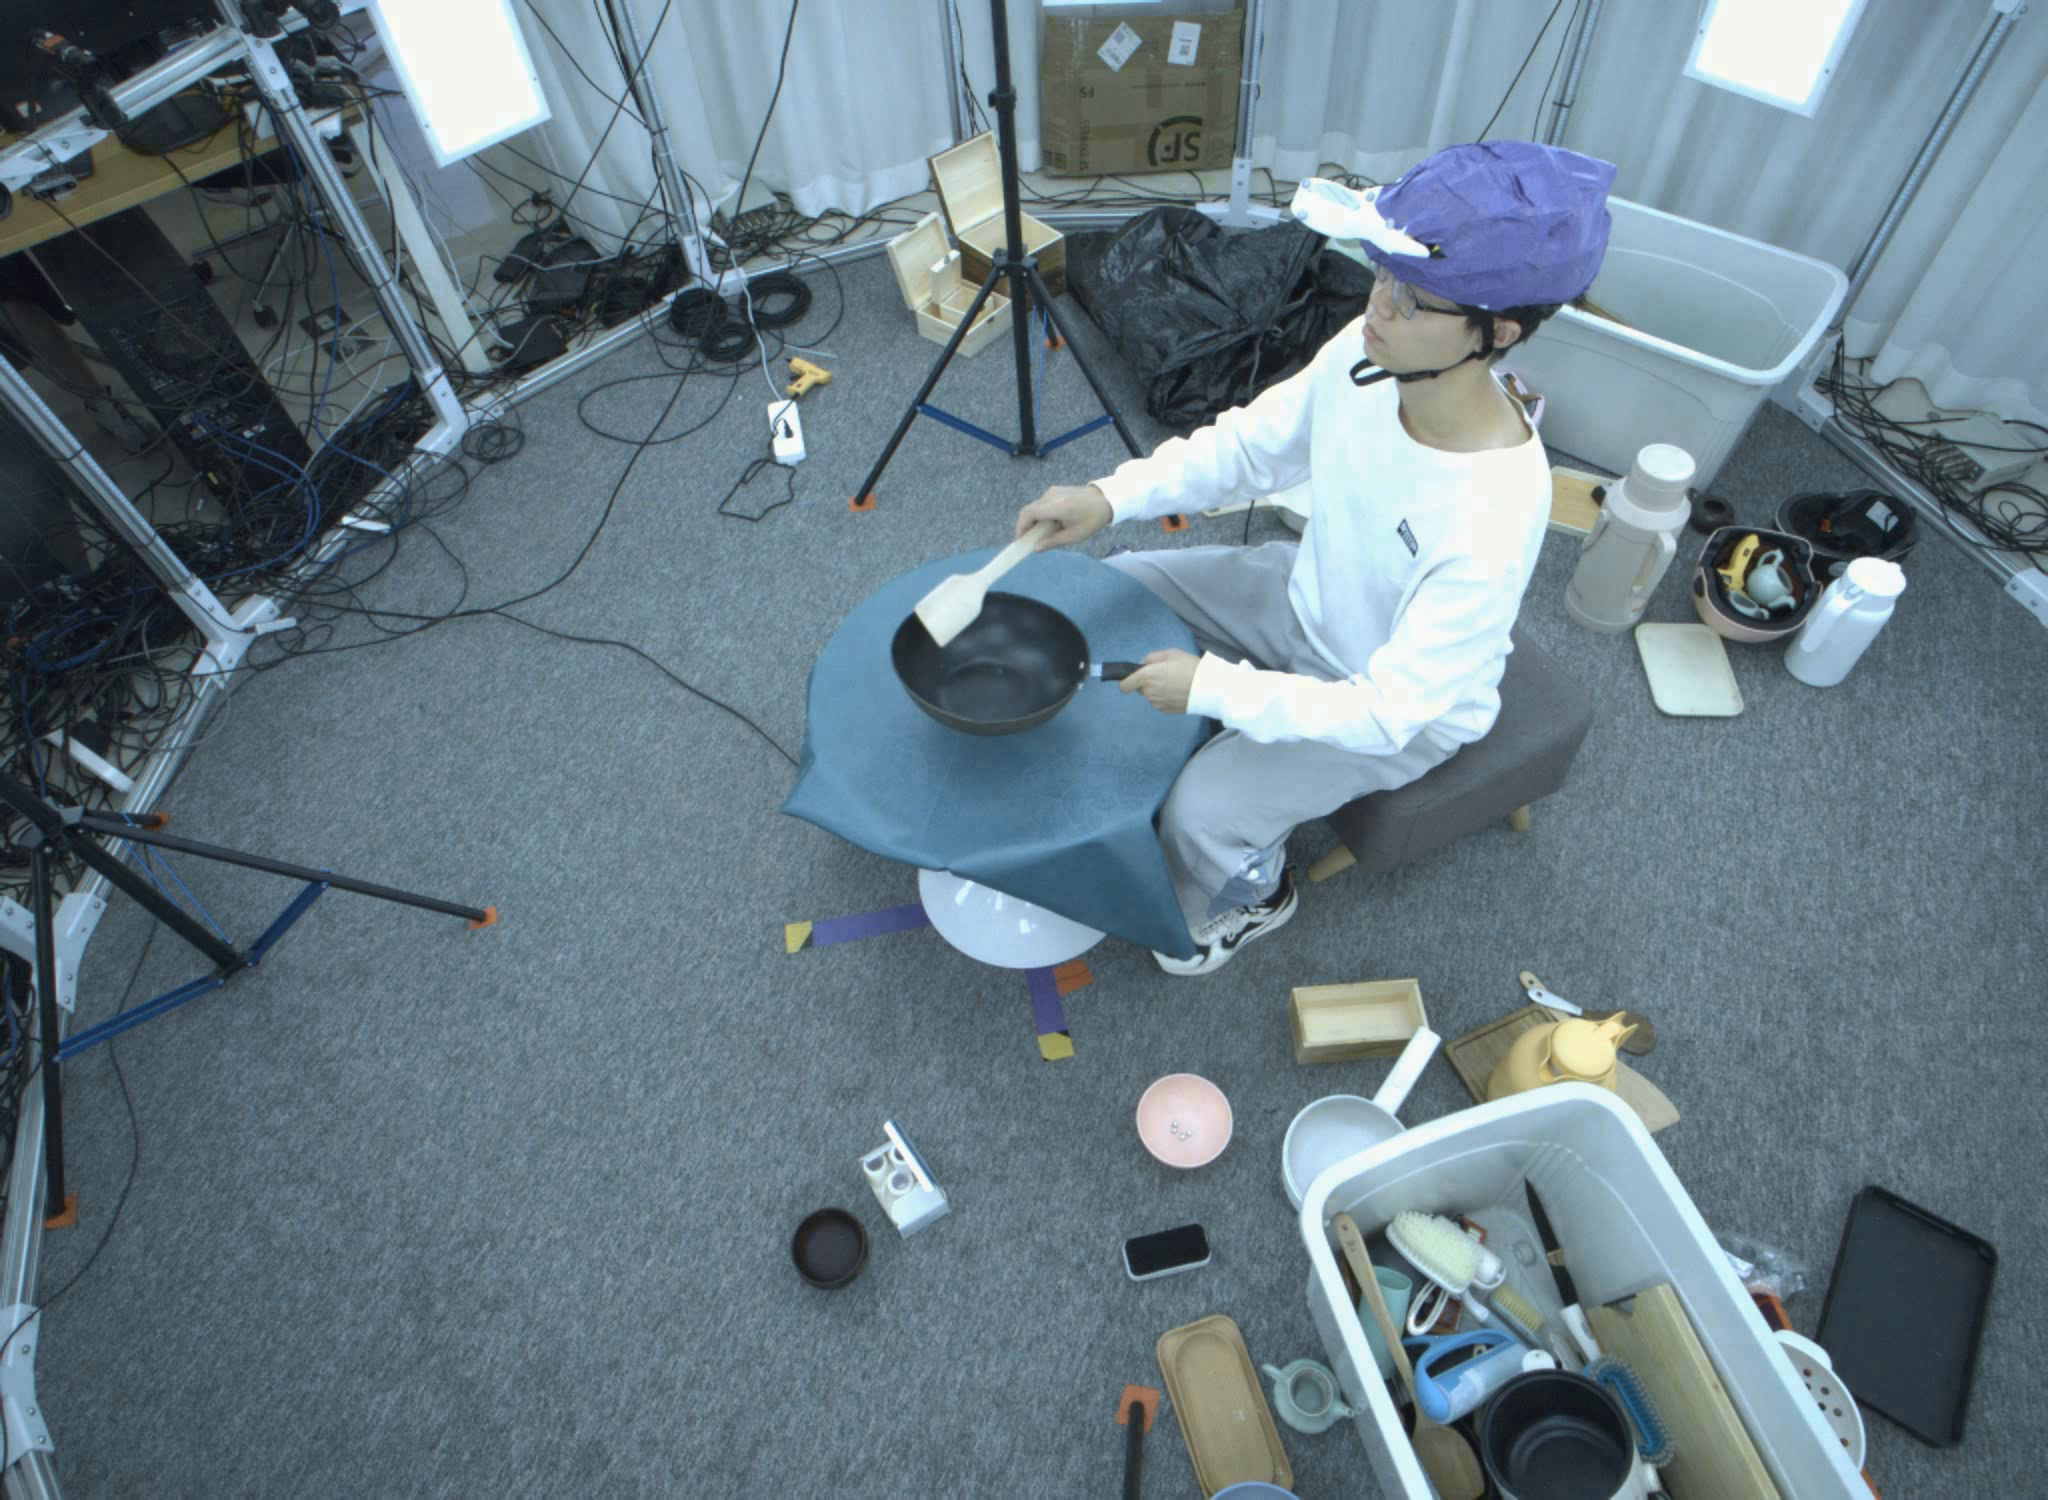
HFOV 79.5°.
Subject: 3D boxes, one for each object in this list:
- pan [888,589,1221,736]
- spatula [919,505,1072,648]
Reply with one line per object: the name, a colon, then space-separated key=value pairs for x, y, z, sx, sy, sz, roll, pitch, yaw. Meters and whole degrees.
pan: x=0.041 y=-0.099 z=1.725 sx=0.463 sy=0.087 sz=0.286 roll=8 pitch=45 yaw=0
spatula: x=-0.034 y=-0.264 z=1.776 sx=0.294 sy=0.073 sz=0.010 roll=-44 pitch=24 yaw=-21
